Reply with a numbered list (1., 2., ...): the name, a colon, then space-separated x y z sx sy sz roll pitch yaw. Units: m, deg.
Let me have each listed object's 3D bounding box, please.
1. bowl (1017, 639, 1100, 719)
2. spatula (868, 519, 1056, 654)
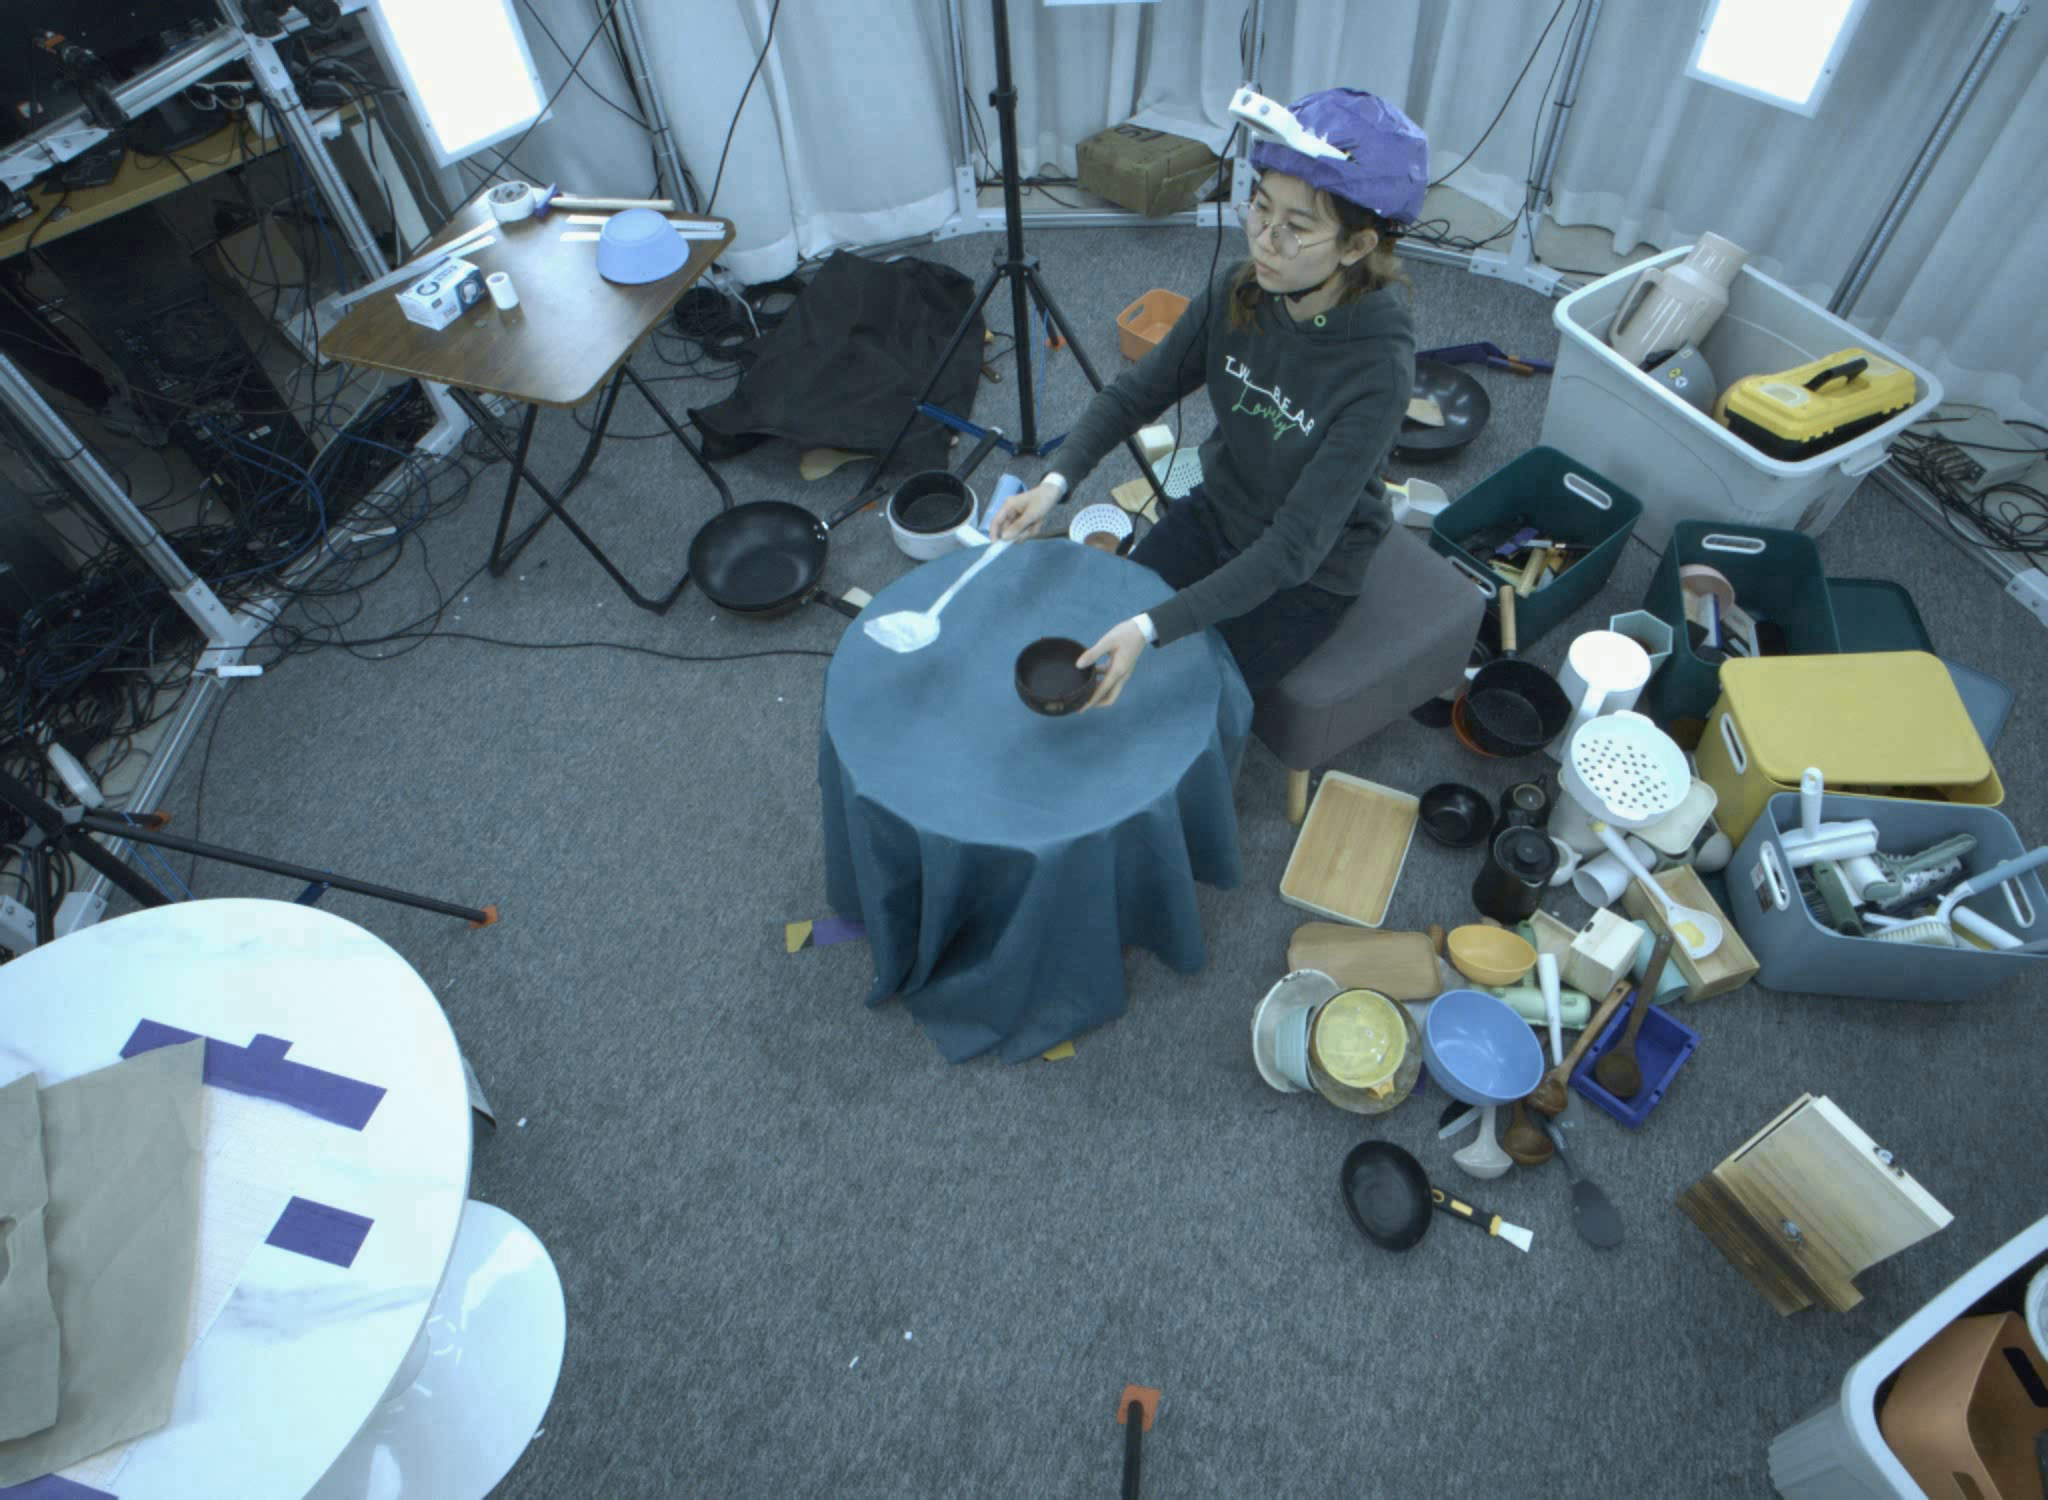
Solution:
1. bowl: 0.049 -0.093 1.744 0.118 0.070 0.117 1 55 0
2. spatula: -0.081 -0.259 1.840 0.097 0.045 0.367 32 65 28
